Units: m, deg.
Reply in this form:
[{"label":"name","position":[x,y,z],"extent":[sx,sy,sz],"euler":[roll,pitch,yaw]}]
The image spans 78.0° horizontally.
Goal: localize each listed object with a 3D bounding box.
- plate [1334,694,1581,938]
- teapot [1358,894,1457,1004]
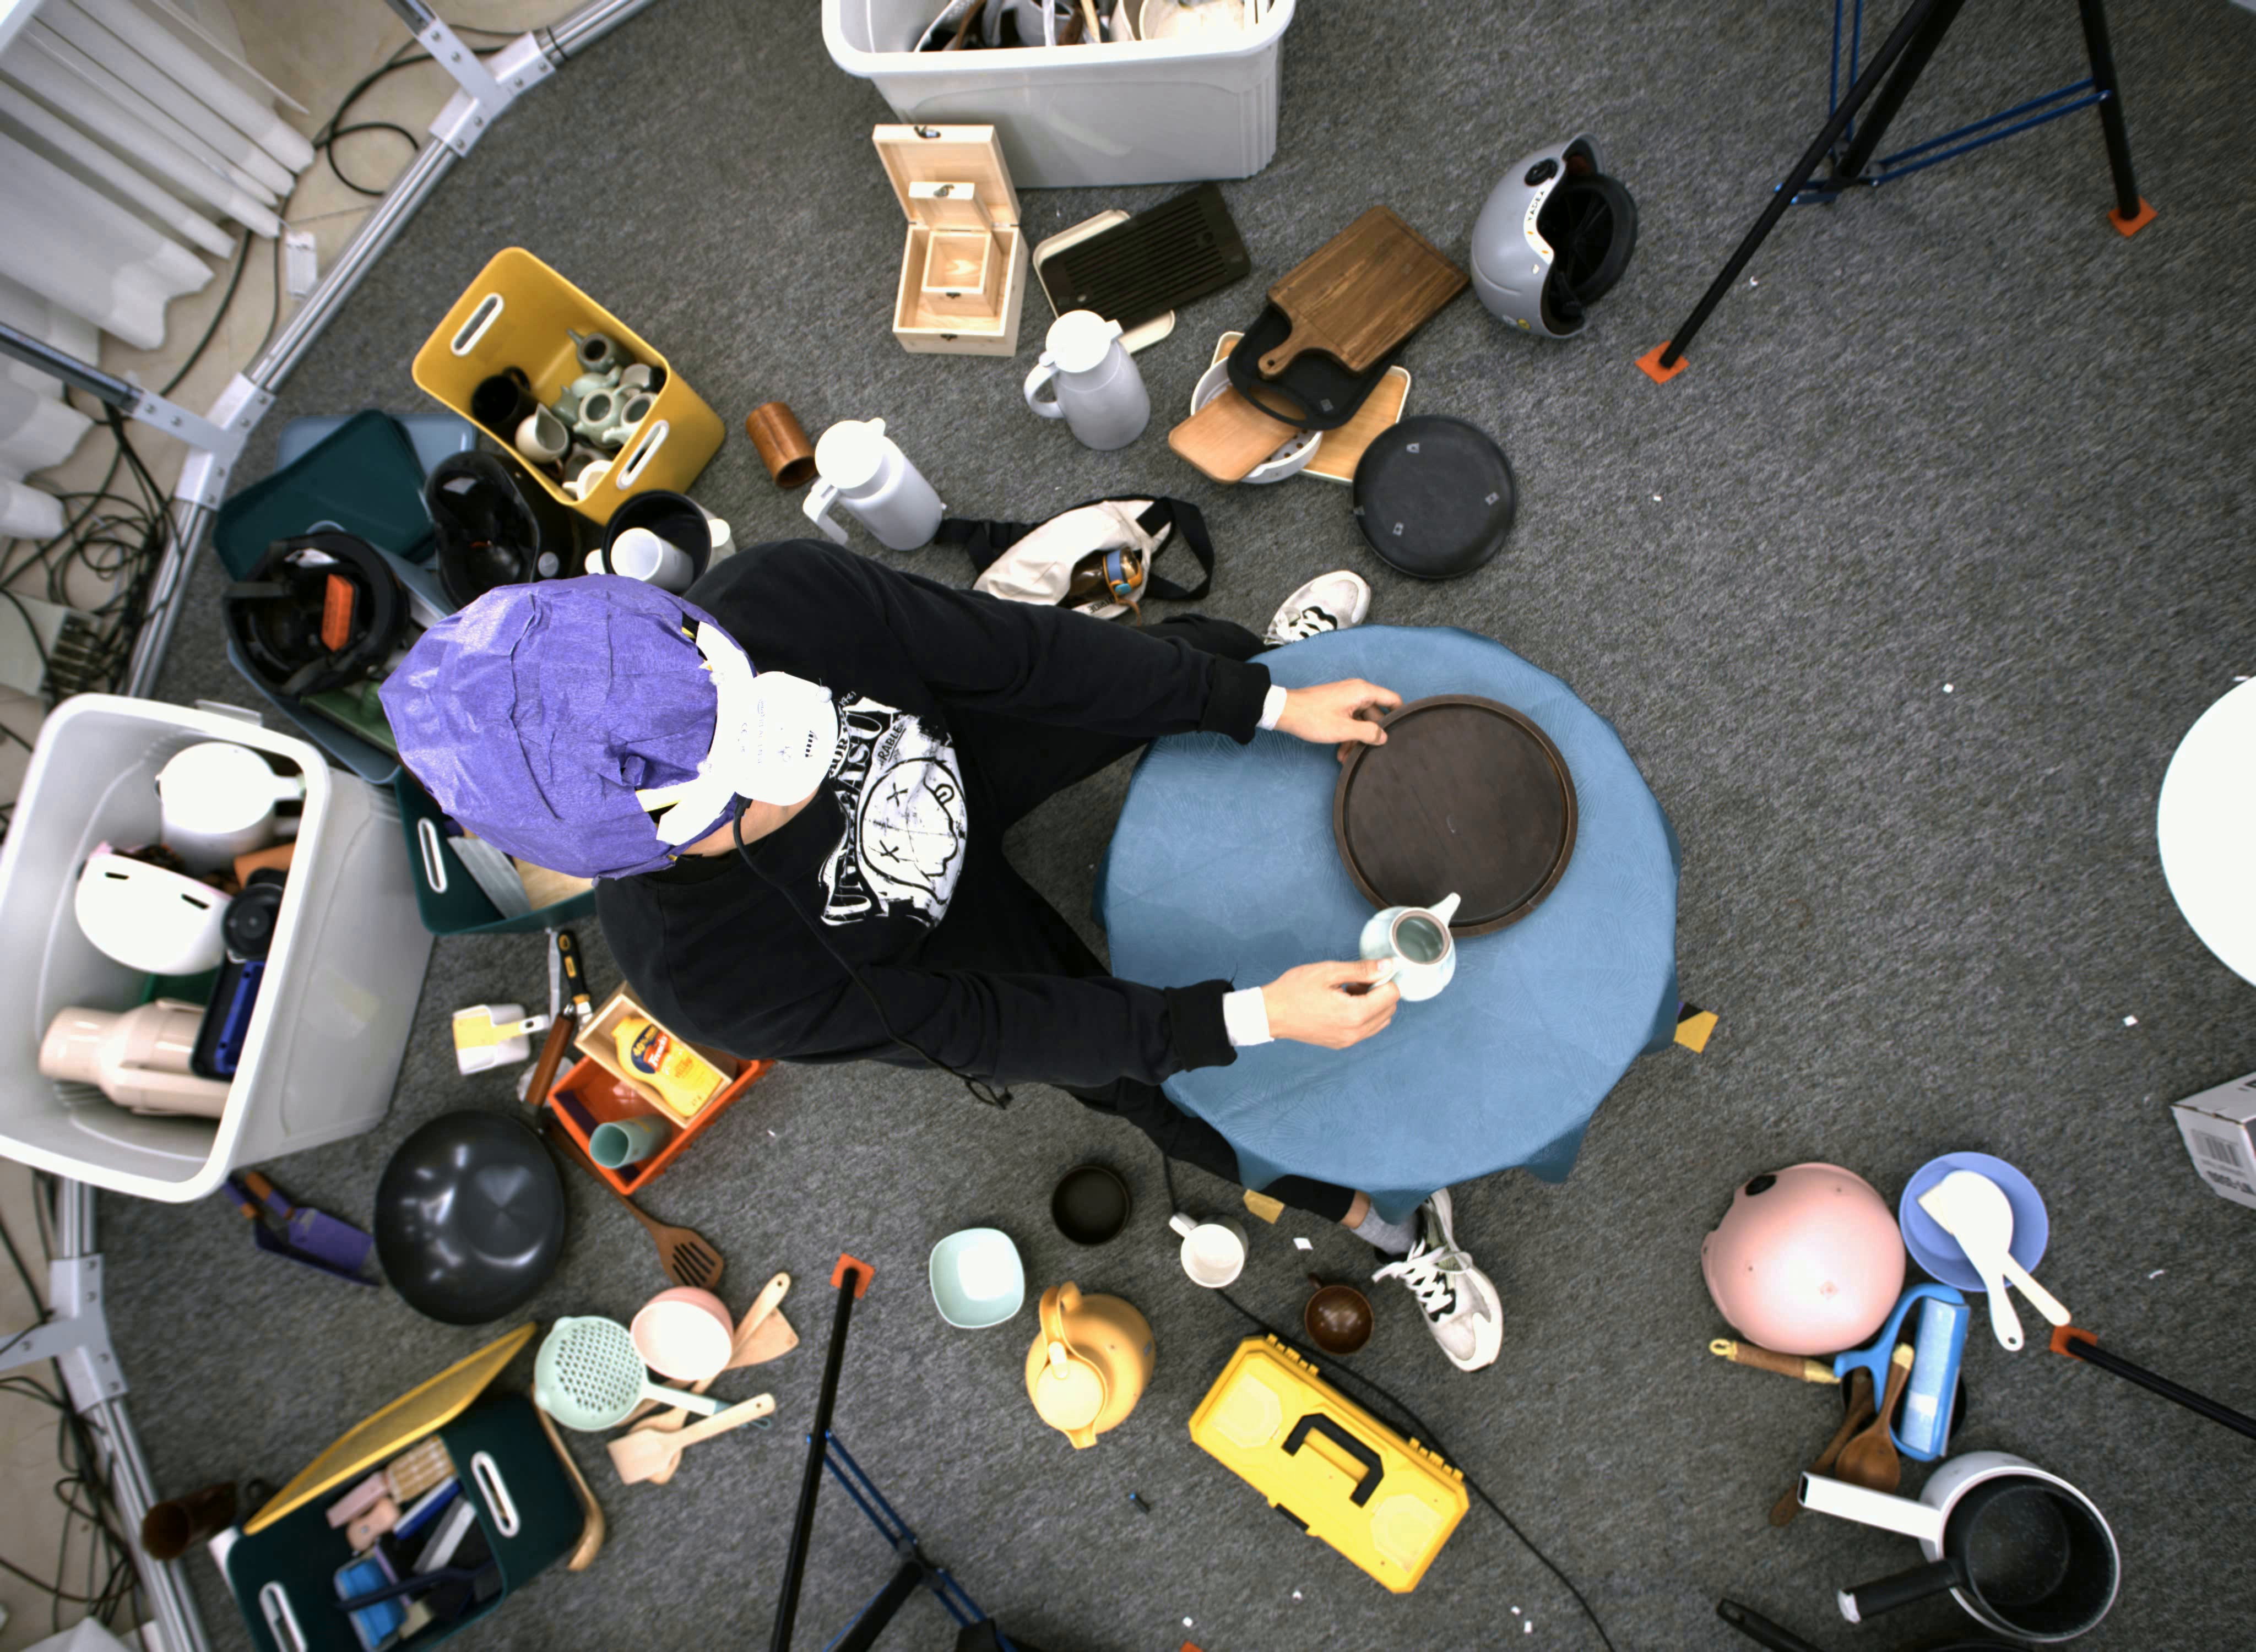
[{"label":"plate","position":[0.339,-0.012,1.424],"extent":[0.255,0.029,0.255],"euler":[0,93,4]},{"label":"teapot","position":[0.270,0.122,1.328],"extent":[0.096,0.063,0.134],"euler":[41,65,9]}]
